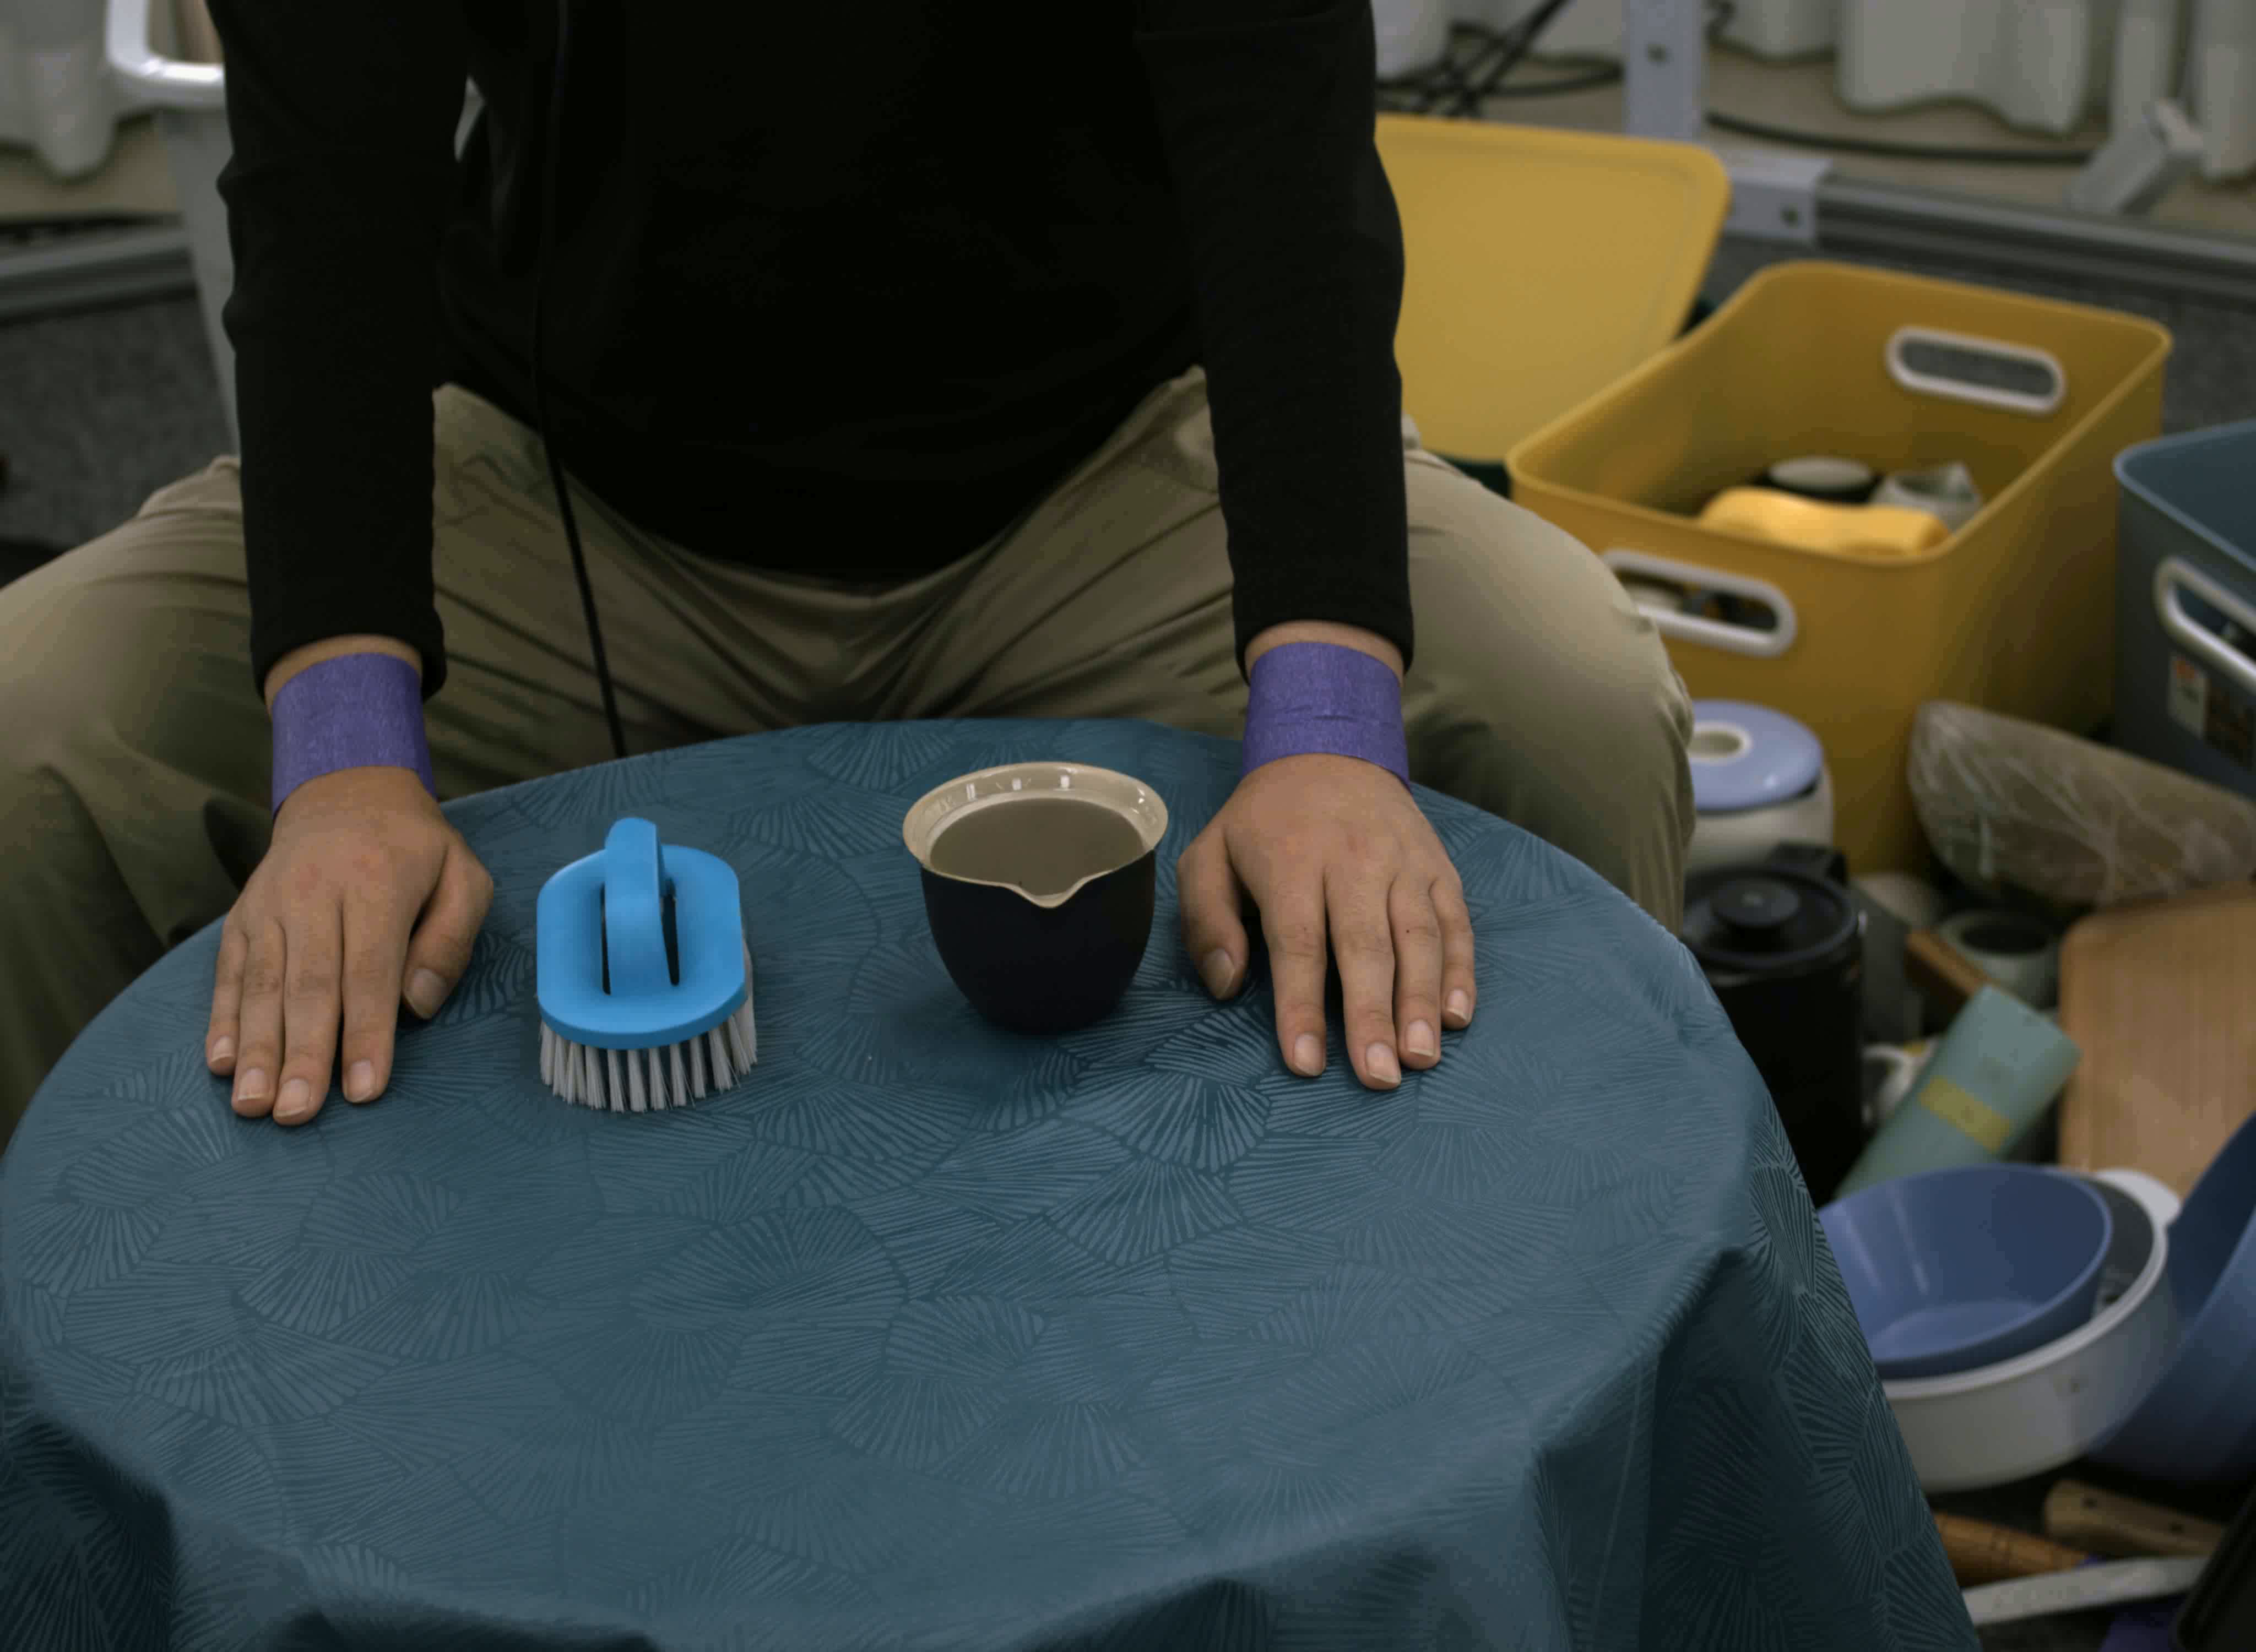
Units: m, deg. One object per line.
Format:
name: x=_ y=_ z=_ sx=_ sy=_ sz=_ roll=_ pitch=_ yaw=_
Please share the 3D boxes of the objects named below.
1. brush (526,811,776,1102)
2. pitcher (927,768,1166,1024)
brush: x=-0.169 y=0.037 z=1.971 sx=0.084 sy=0.063 sz=0.144 roll=-8 pitch=26 yaw=0
pitcher: x=-0.028 y=0.029 z=1.963 sx=0.083 sy=0.070 sz=0.097 roll=-2 pitch=29 yaw=0
